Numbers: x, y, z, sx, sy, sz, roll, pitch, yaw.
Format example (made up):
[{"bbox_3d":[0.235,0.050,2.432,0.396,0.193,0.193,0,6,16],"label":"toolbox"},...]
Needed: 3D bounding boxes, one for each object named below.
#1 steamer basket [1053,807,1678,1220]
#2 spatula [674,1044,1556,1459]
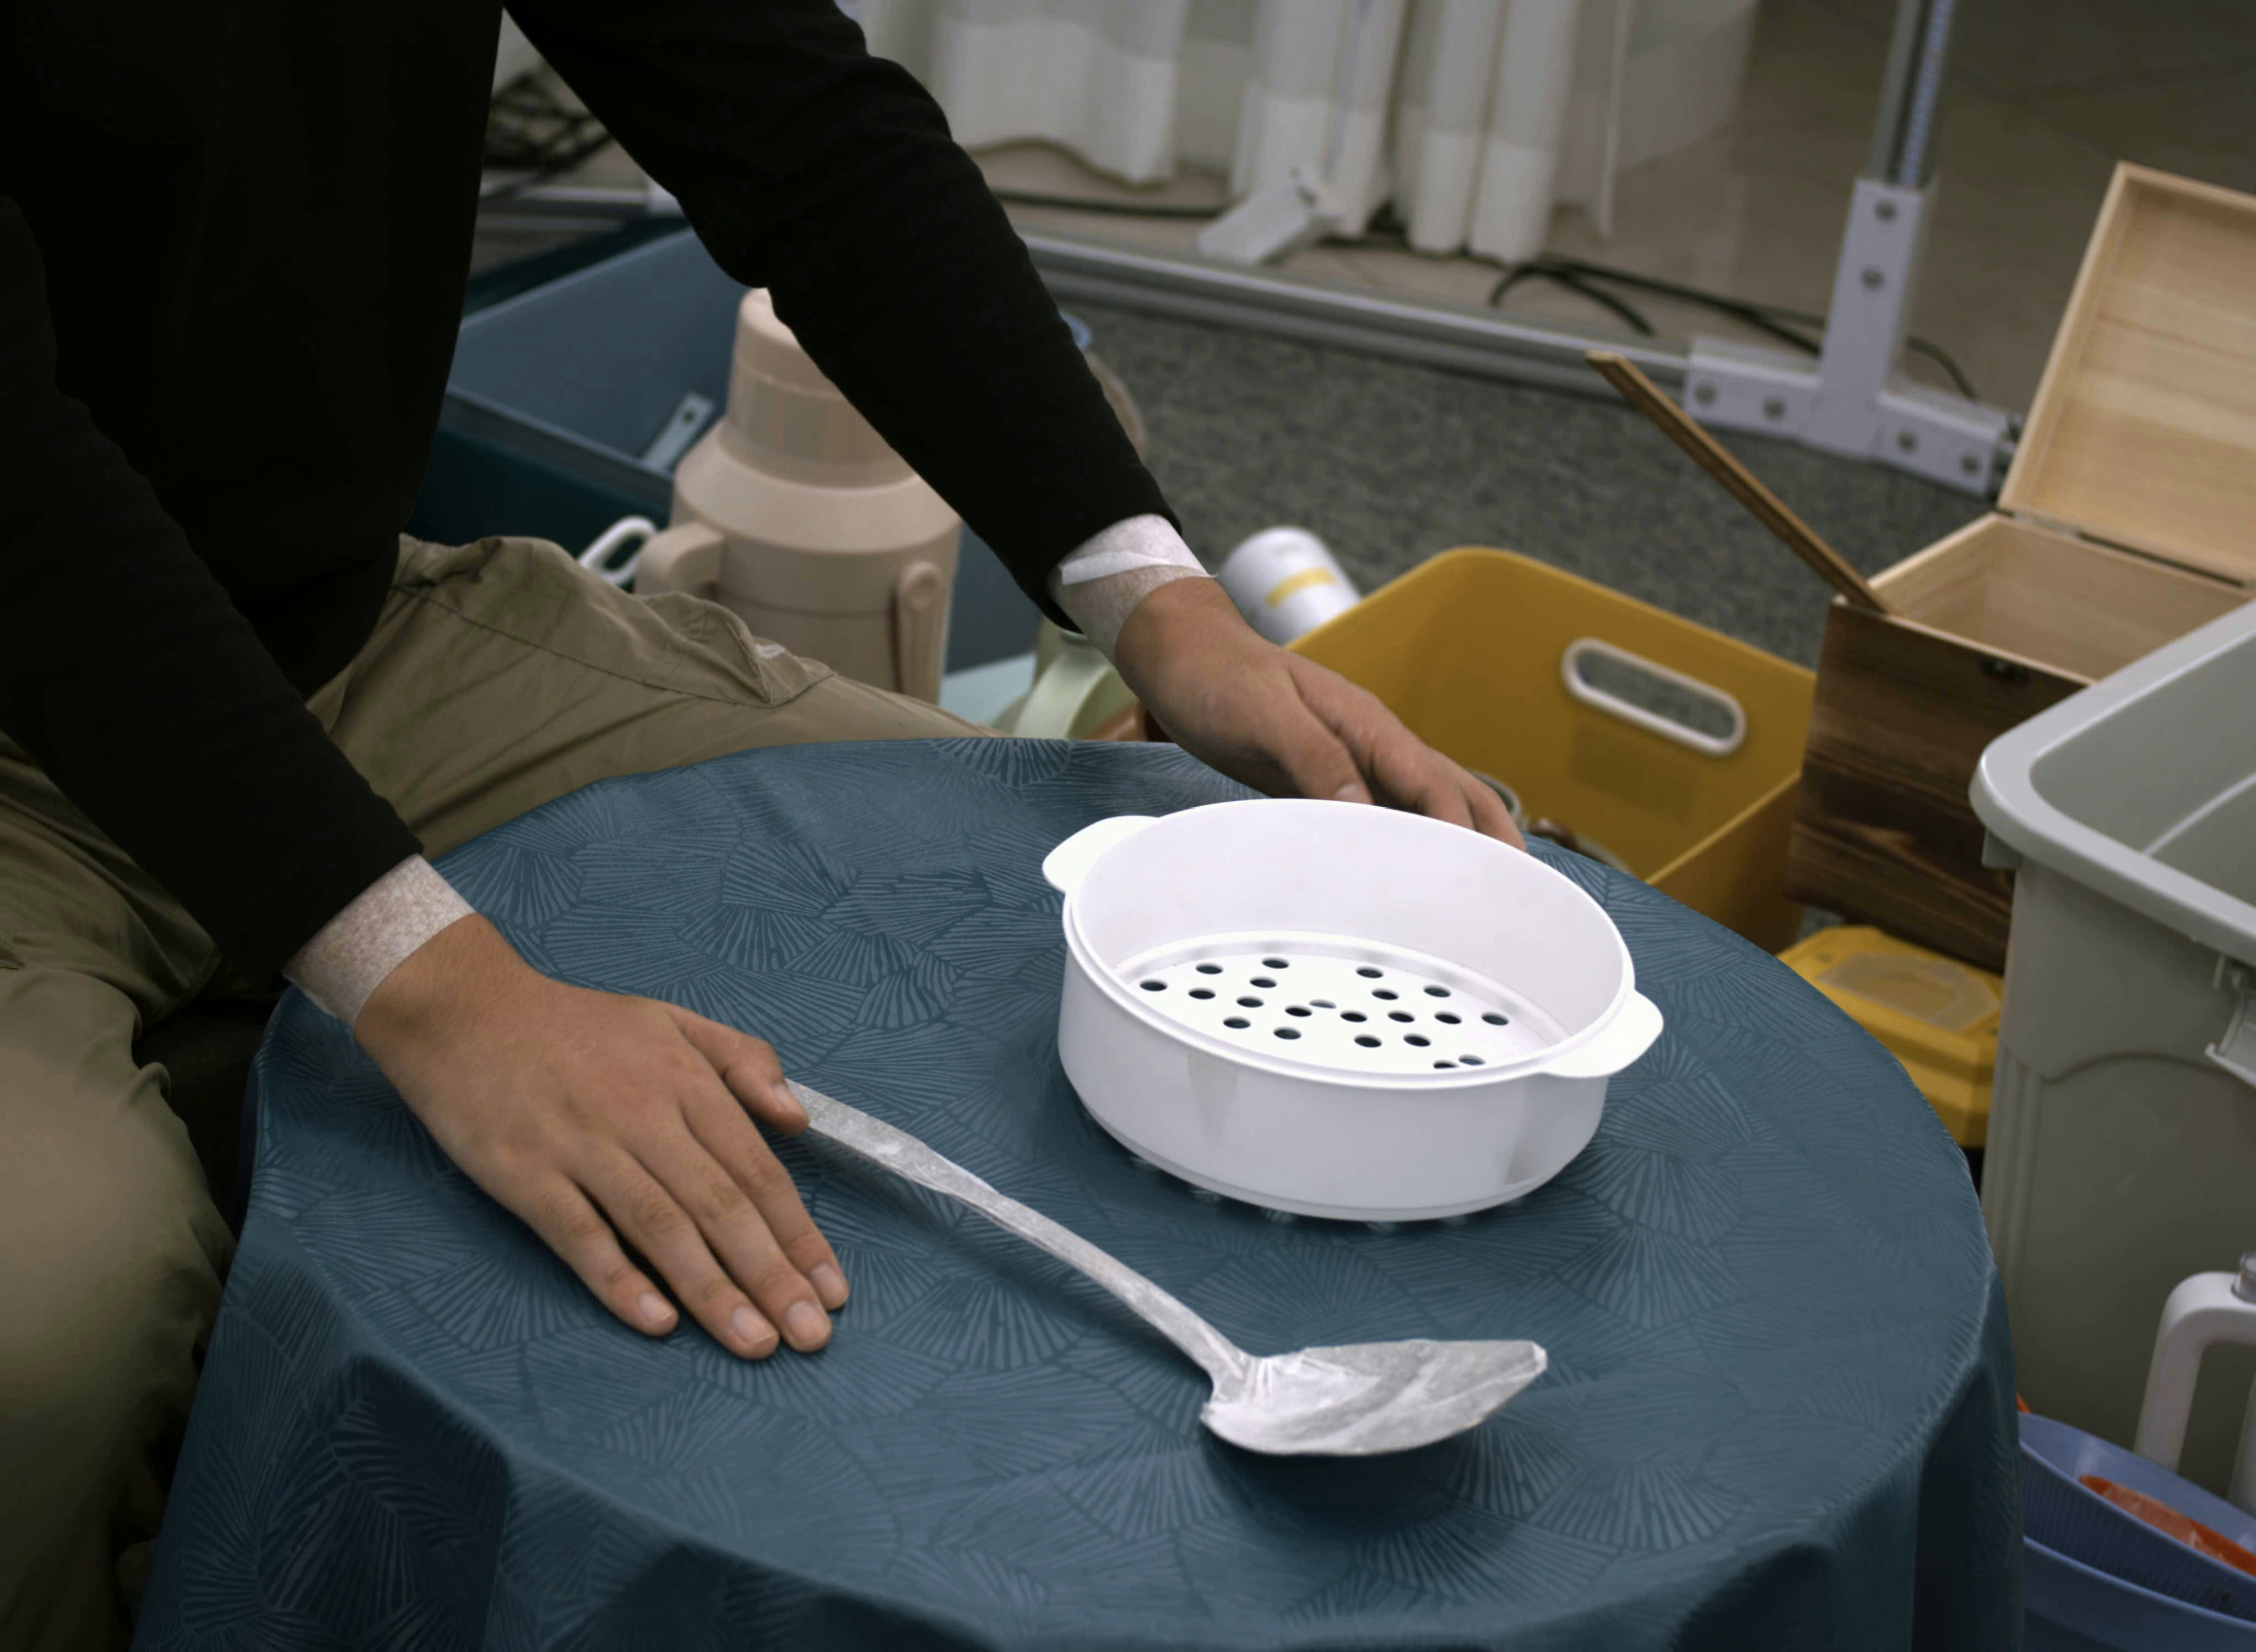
[{"bbox_3d":[0.078,0.066,1.856,0.232,0.069,0.201,20,29,26],"label":"steamer basket"},{"bbox_3d":[-0.025,0.130,1.742,0.367,0.044,0.098,26,35,34],"label":"spatula"}]
